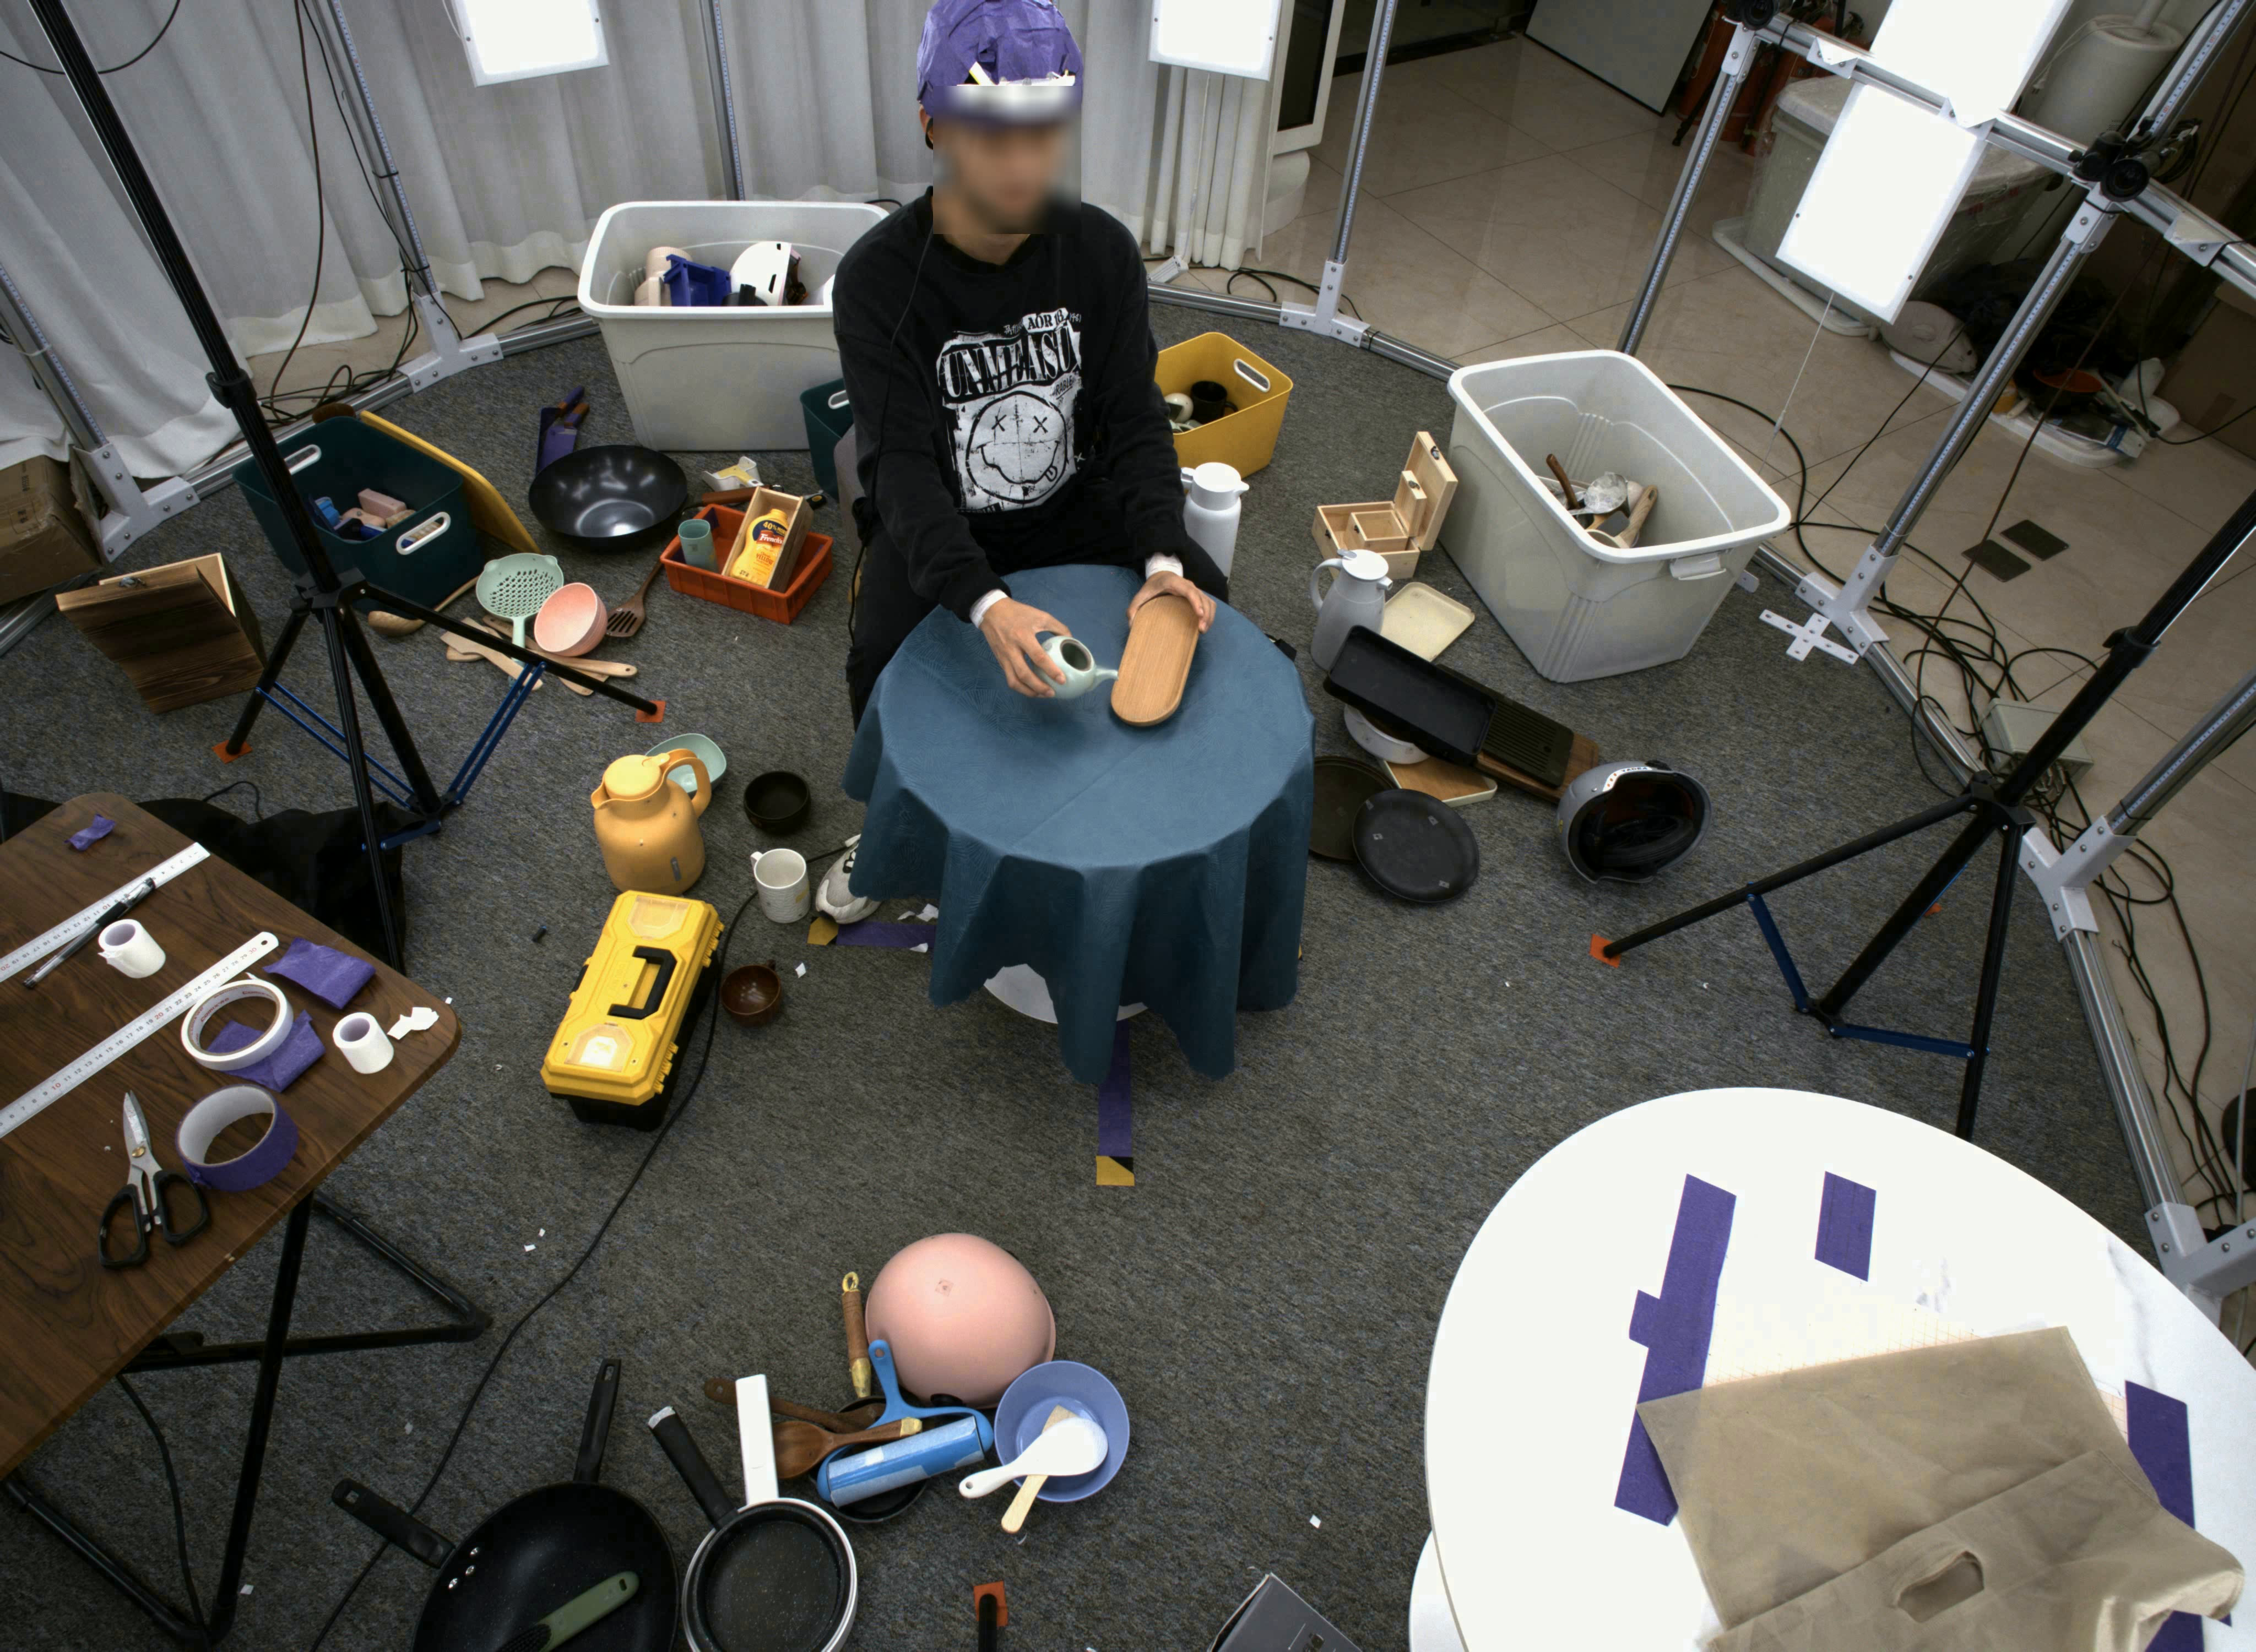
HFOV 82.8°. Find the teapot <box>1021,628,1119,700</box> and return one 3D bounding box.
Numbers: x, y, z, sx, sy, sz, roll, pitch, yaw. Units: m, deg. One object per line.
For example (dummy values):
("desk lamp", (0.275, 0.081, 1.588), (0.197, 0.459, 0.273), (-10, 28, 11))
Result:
("teapot", (-0.088, -0.216, 1.743), (0.142, 0.074, 0.090), (28, 43, -25))

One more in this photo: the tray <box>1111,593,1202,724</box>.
("tray", (0.042, -0.241, 1.835), (0.102, 0.020, 0.236), (5, 57, 17))
